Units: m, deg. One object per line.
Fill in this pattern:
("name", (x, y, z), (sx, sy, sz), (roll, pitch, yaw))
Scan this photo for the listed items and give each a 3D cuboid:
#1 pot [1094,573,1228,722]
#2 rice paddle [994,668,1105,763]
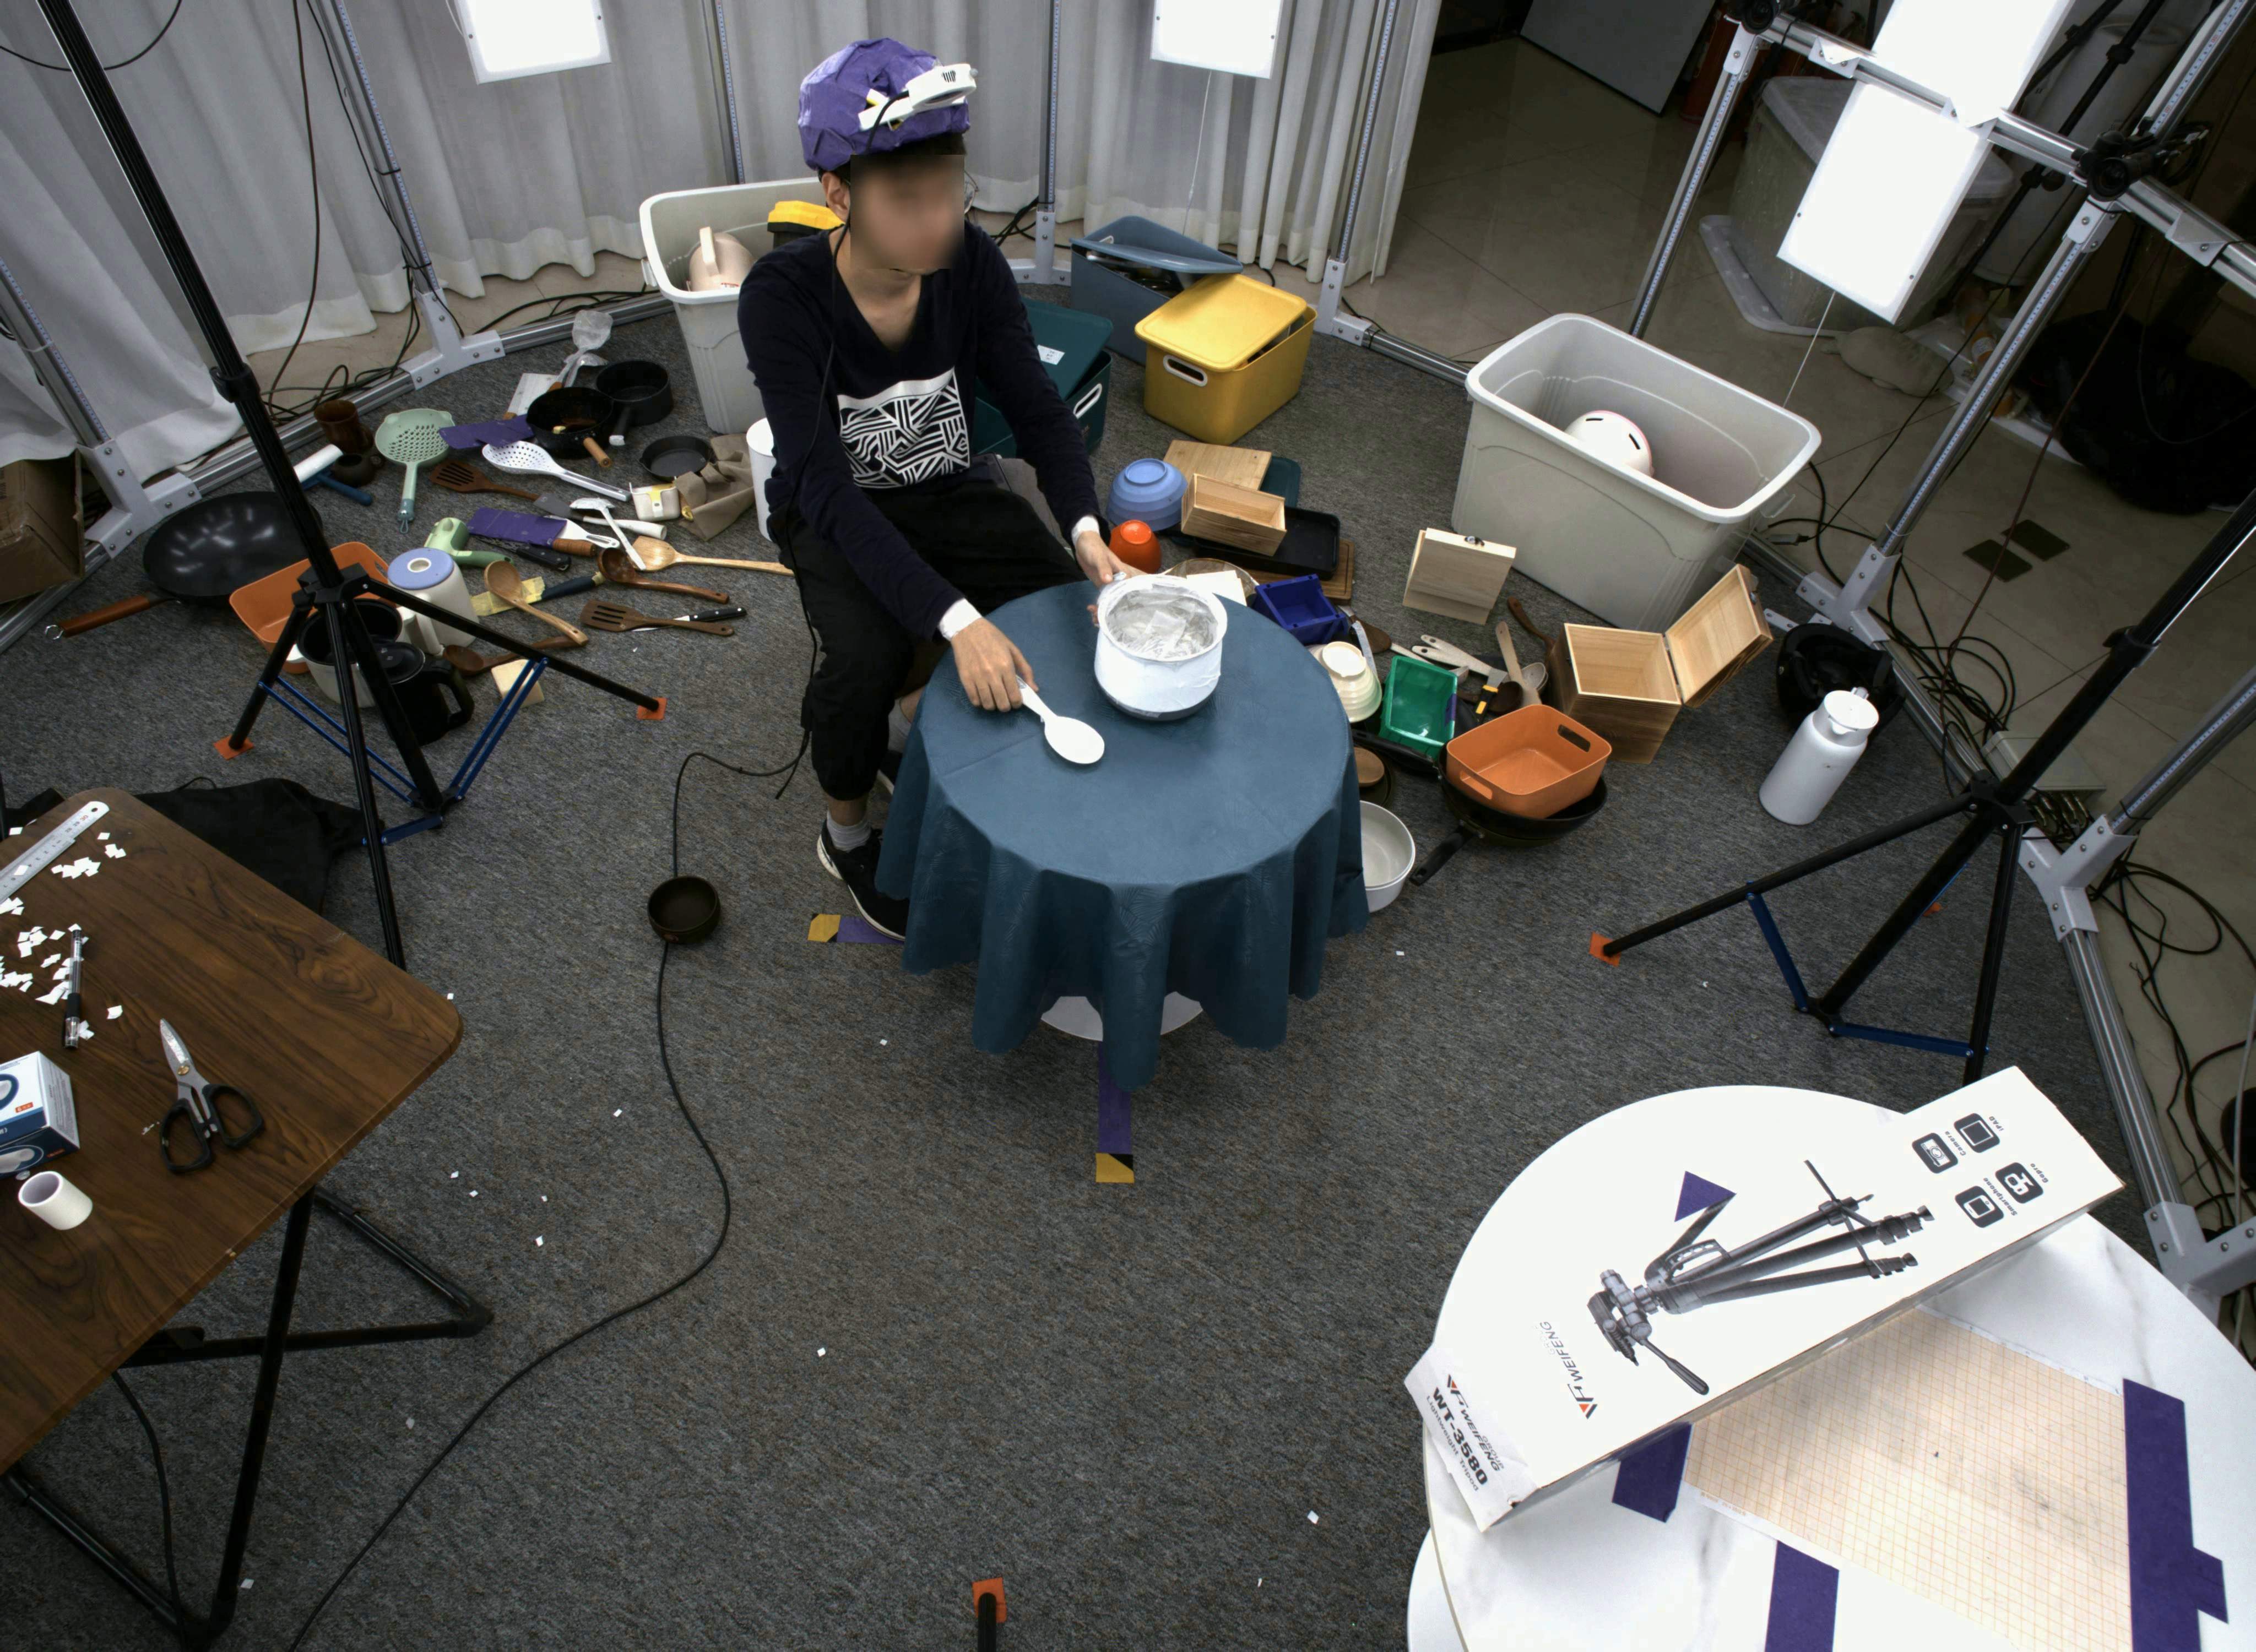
("pot", (0.028, -0.261, 1.812), (0.179, 0.133, 0.238), (-25, 54, -26))
("rice paddle", (-0.109, -0.153, 1.774), (0.069, 0.029, 0.208), (-32, 57, -27))
